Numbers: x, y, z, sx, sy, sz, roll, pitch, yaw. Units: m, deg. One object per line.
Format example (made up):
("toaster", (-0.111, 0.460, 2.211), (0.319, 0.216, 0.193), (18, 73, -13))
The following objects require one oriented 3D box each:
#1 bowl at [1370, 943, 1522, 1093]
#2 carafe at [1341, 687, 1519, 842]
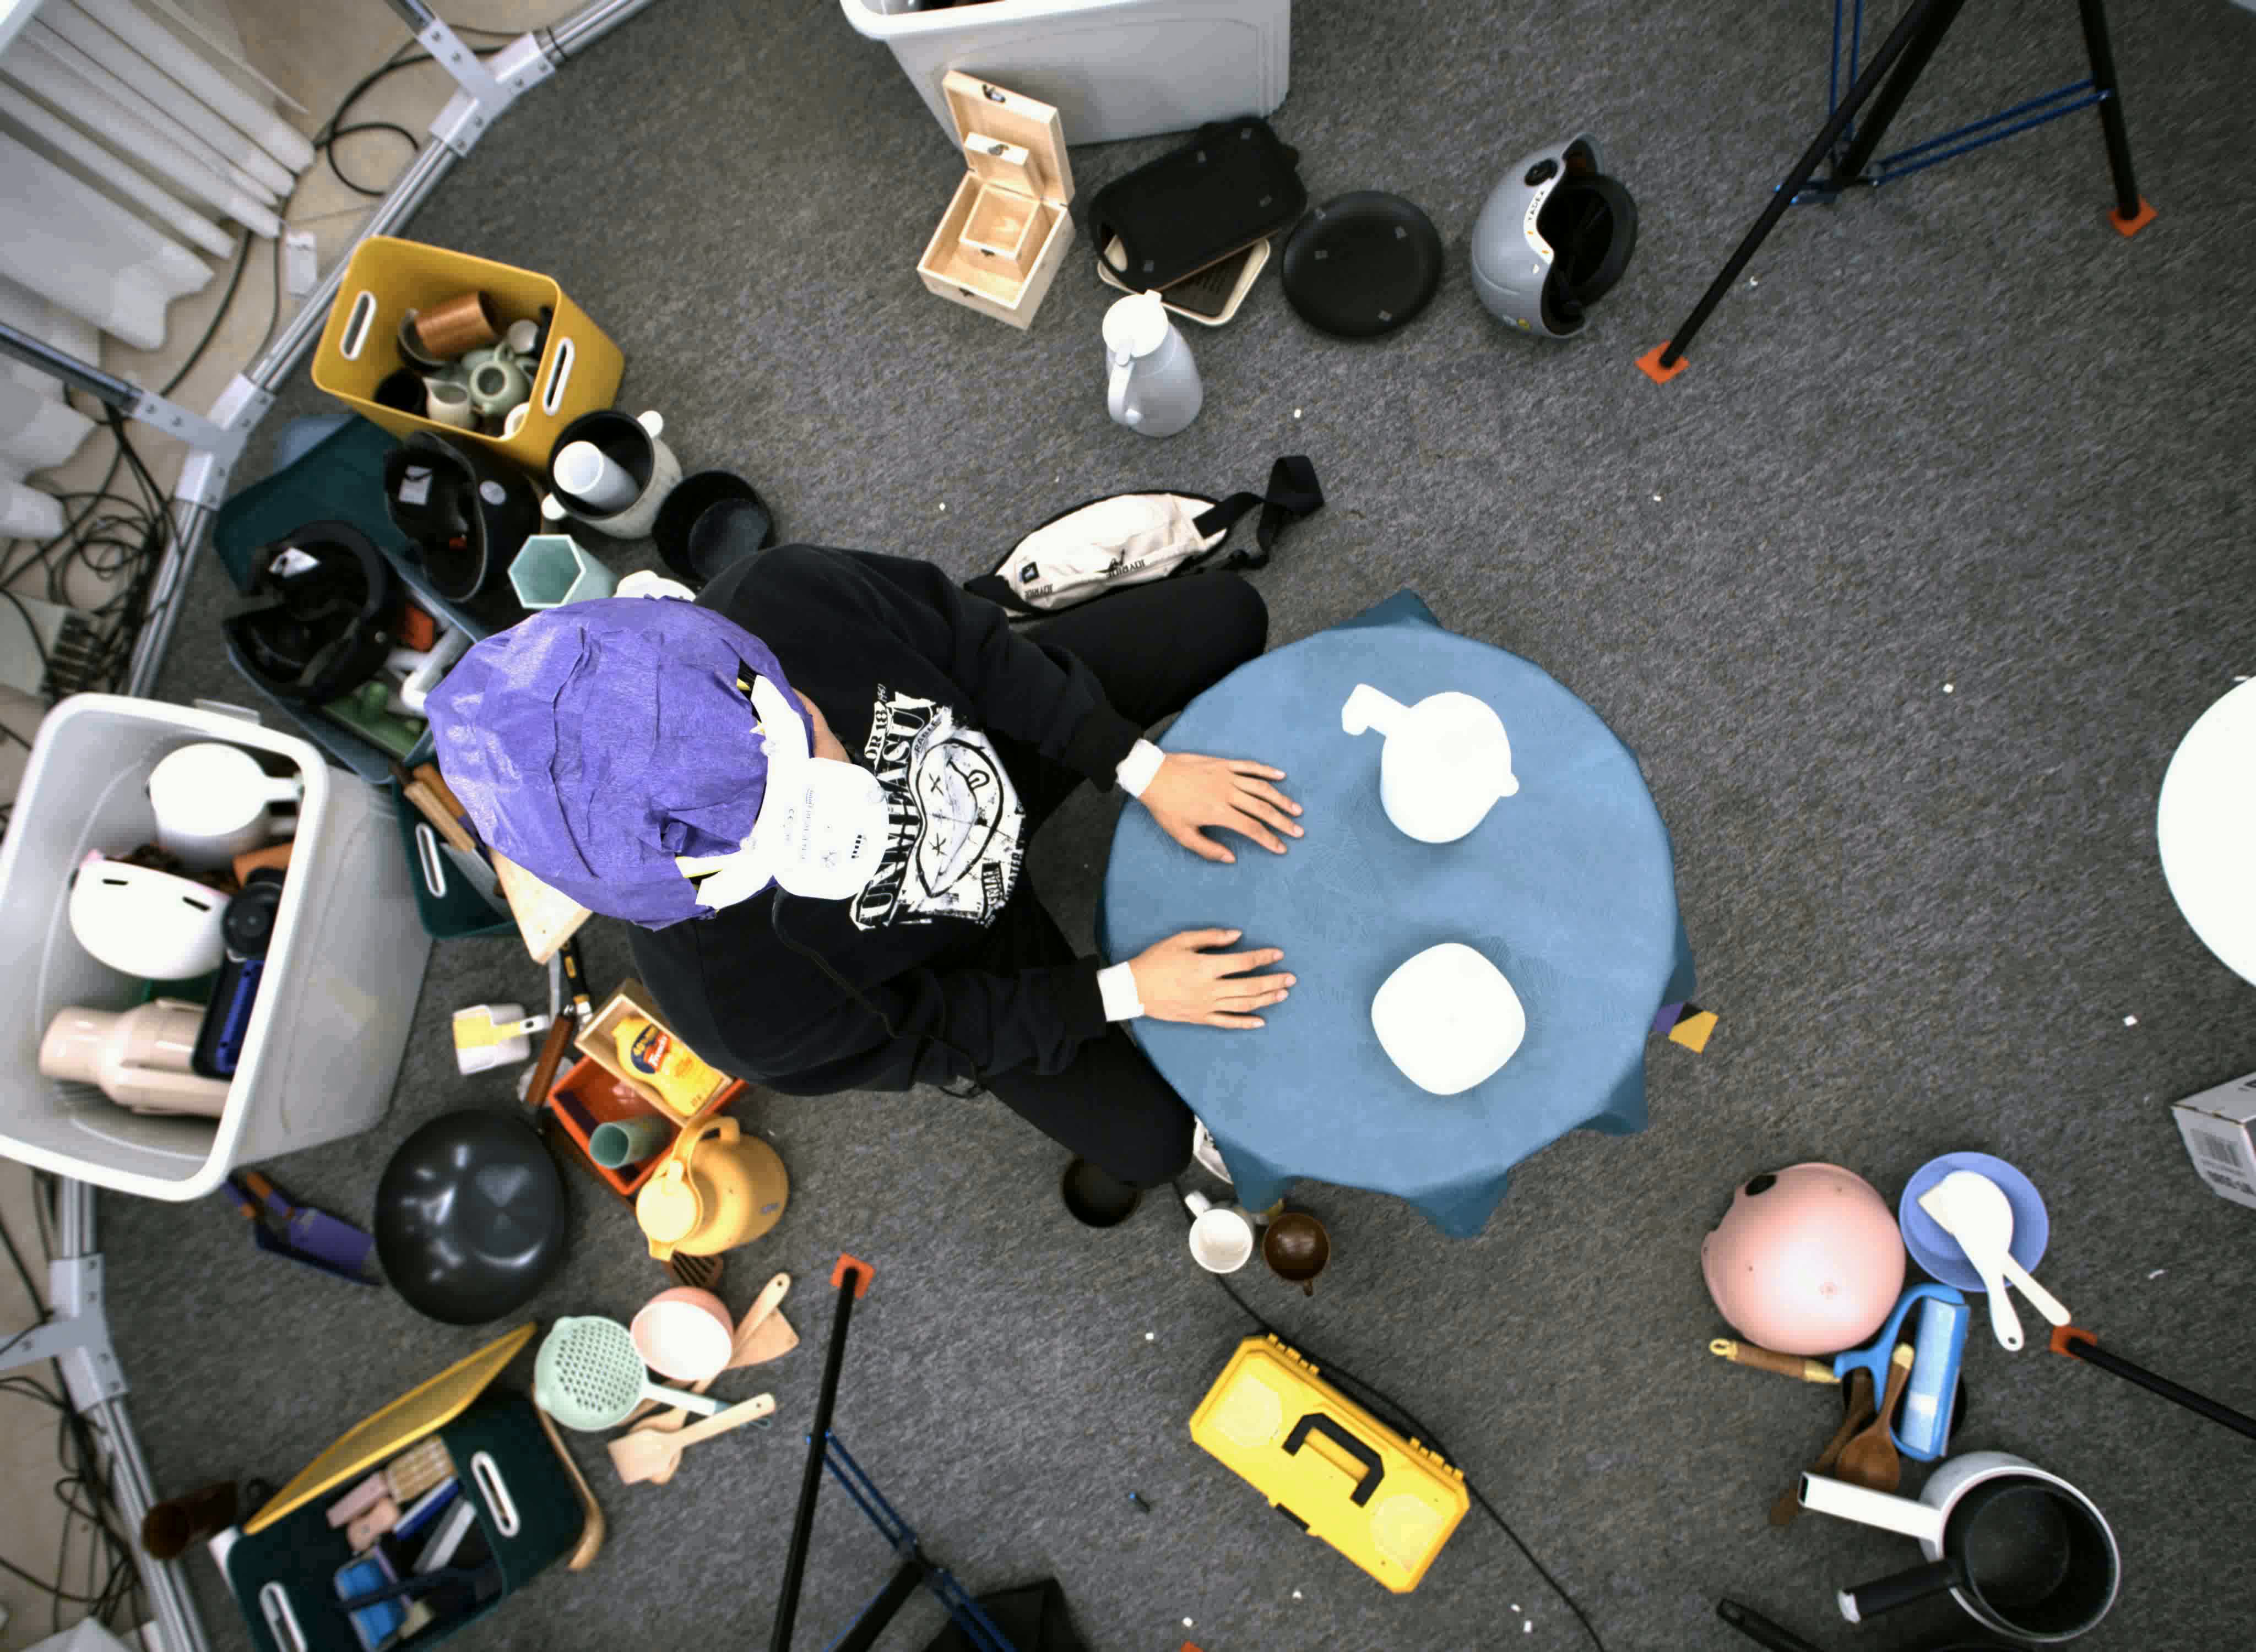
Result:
("bowl", (0.325, 0.195, 1.418), (0.152, 0.058, 0.151), (-1, 86, 11))
("carafe", (0.287, -0.062, 1.329), (0.172, 0.268, 0.124), (30, 93, 11))
